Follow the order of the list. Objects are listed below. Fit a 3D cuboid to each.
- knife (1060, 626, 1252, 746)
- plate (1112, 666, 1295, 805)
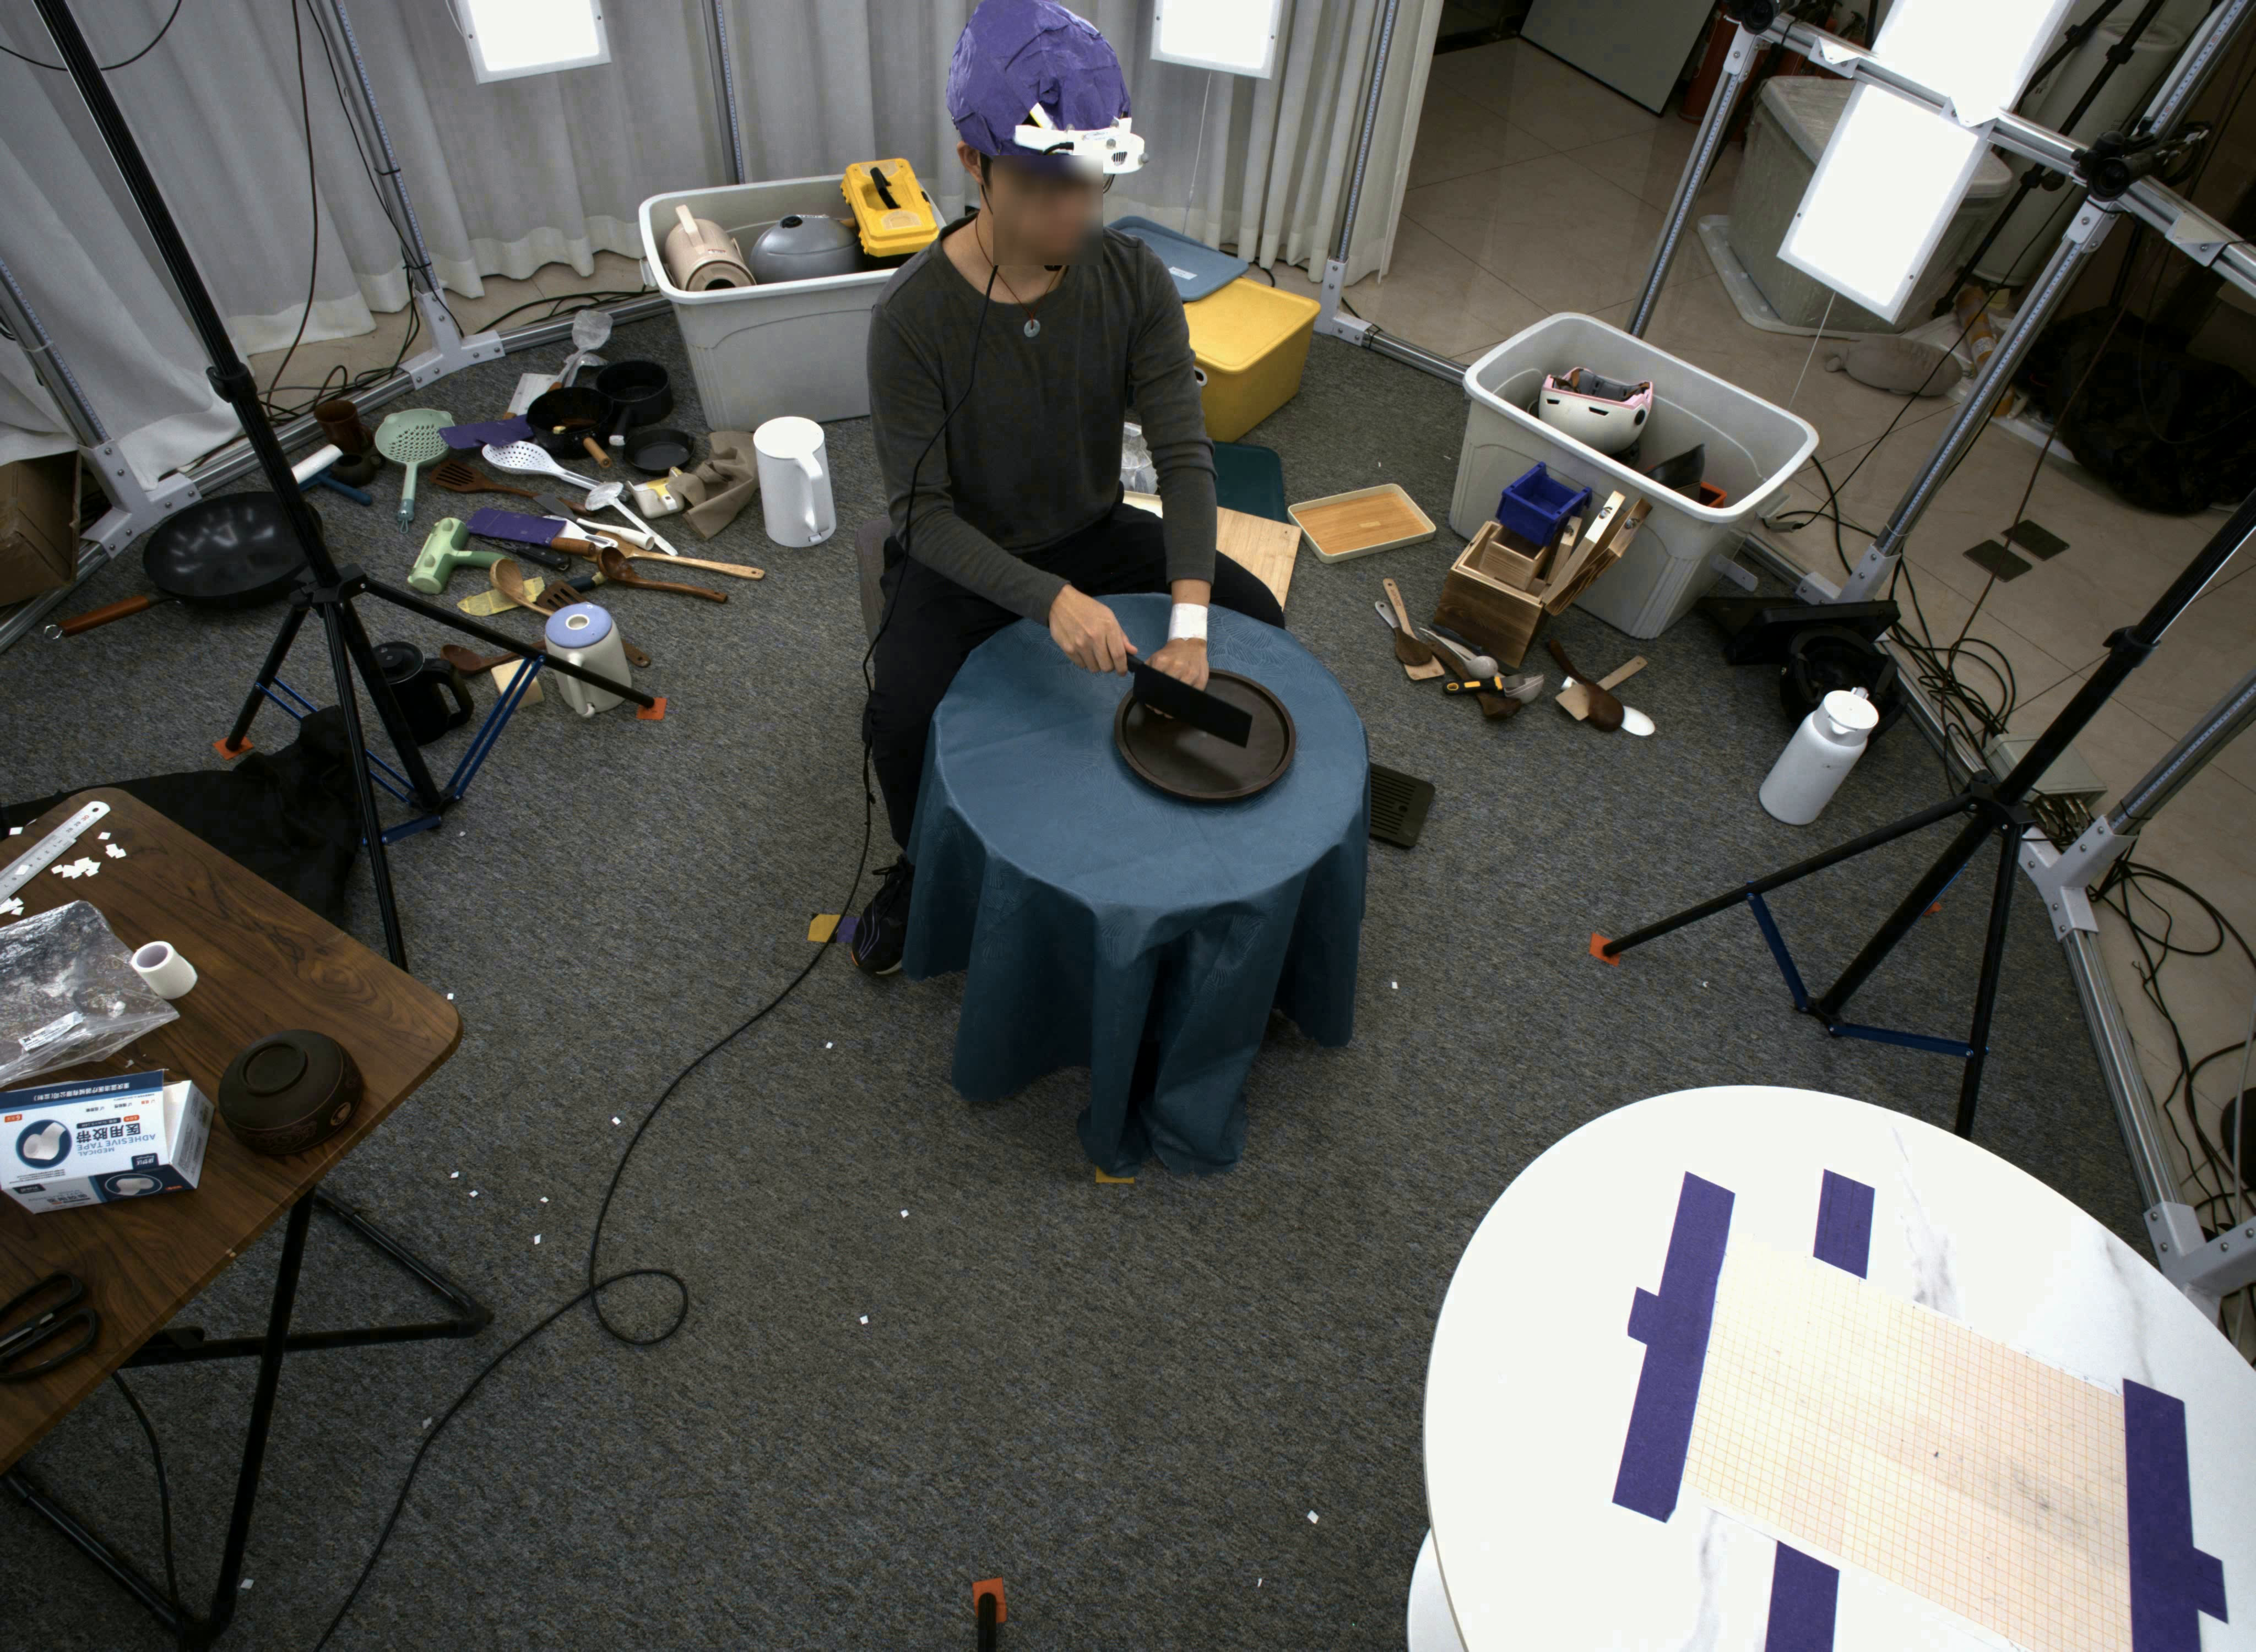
[{"bbox_3d":[0.035,-0.193,1.736,0.305,0.079,0.021,30,48,17],"label":"knife"},{"bbox_3d":[0.104,-0.127,1.770,0.254,0.028,0.261,1,50,-2],"label":"plate"}]
